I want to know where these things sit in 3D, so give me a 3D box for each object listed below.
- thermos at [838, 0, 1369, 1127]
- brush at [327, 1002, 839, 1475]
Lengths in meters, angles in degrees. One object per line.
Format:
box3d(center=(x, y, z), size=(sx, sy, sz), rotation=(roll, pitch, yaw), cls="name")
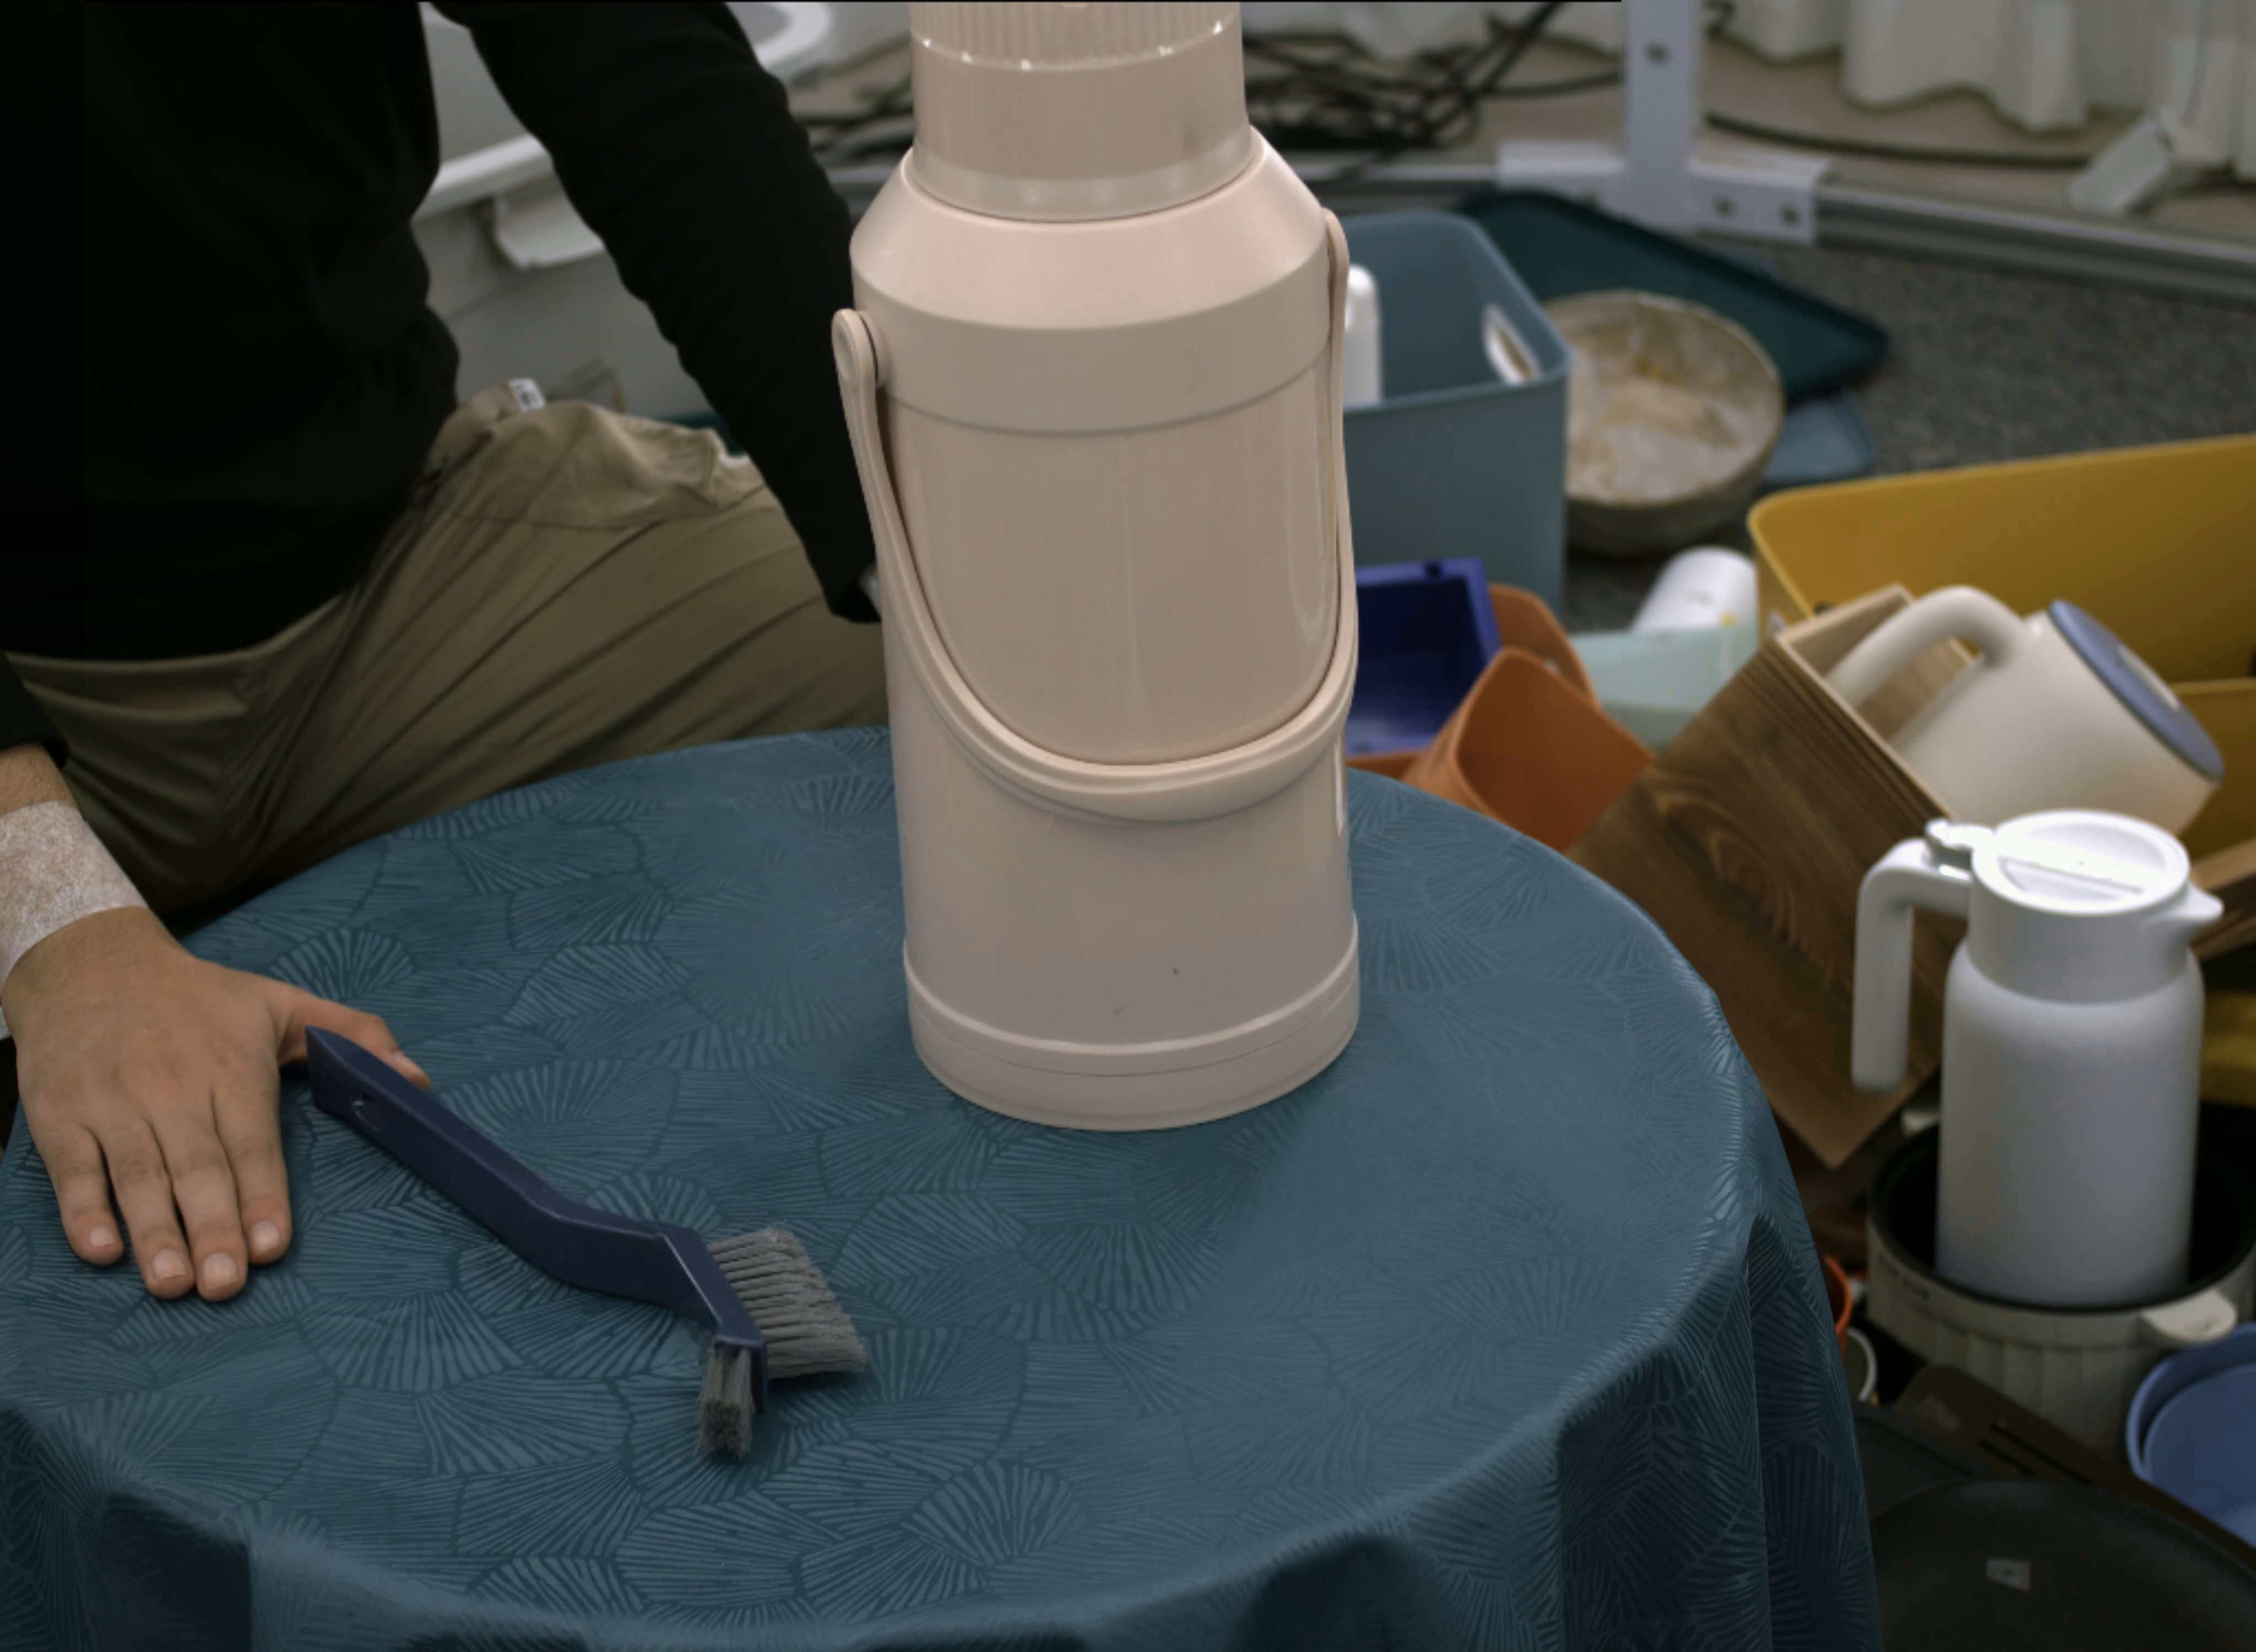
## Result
box3d(center=(-0.010, -0.115, 1.894), size=(0.176, 0.402, 0.208), rotation=(-15, 29, -20), cls="thermos")
box3d(center=(-0.197, 0.130, 1.829), size=(0.273, 0.033, 0.097), rotation=(24, 36, 38), cls="brush")
